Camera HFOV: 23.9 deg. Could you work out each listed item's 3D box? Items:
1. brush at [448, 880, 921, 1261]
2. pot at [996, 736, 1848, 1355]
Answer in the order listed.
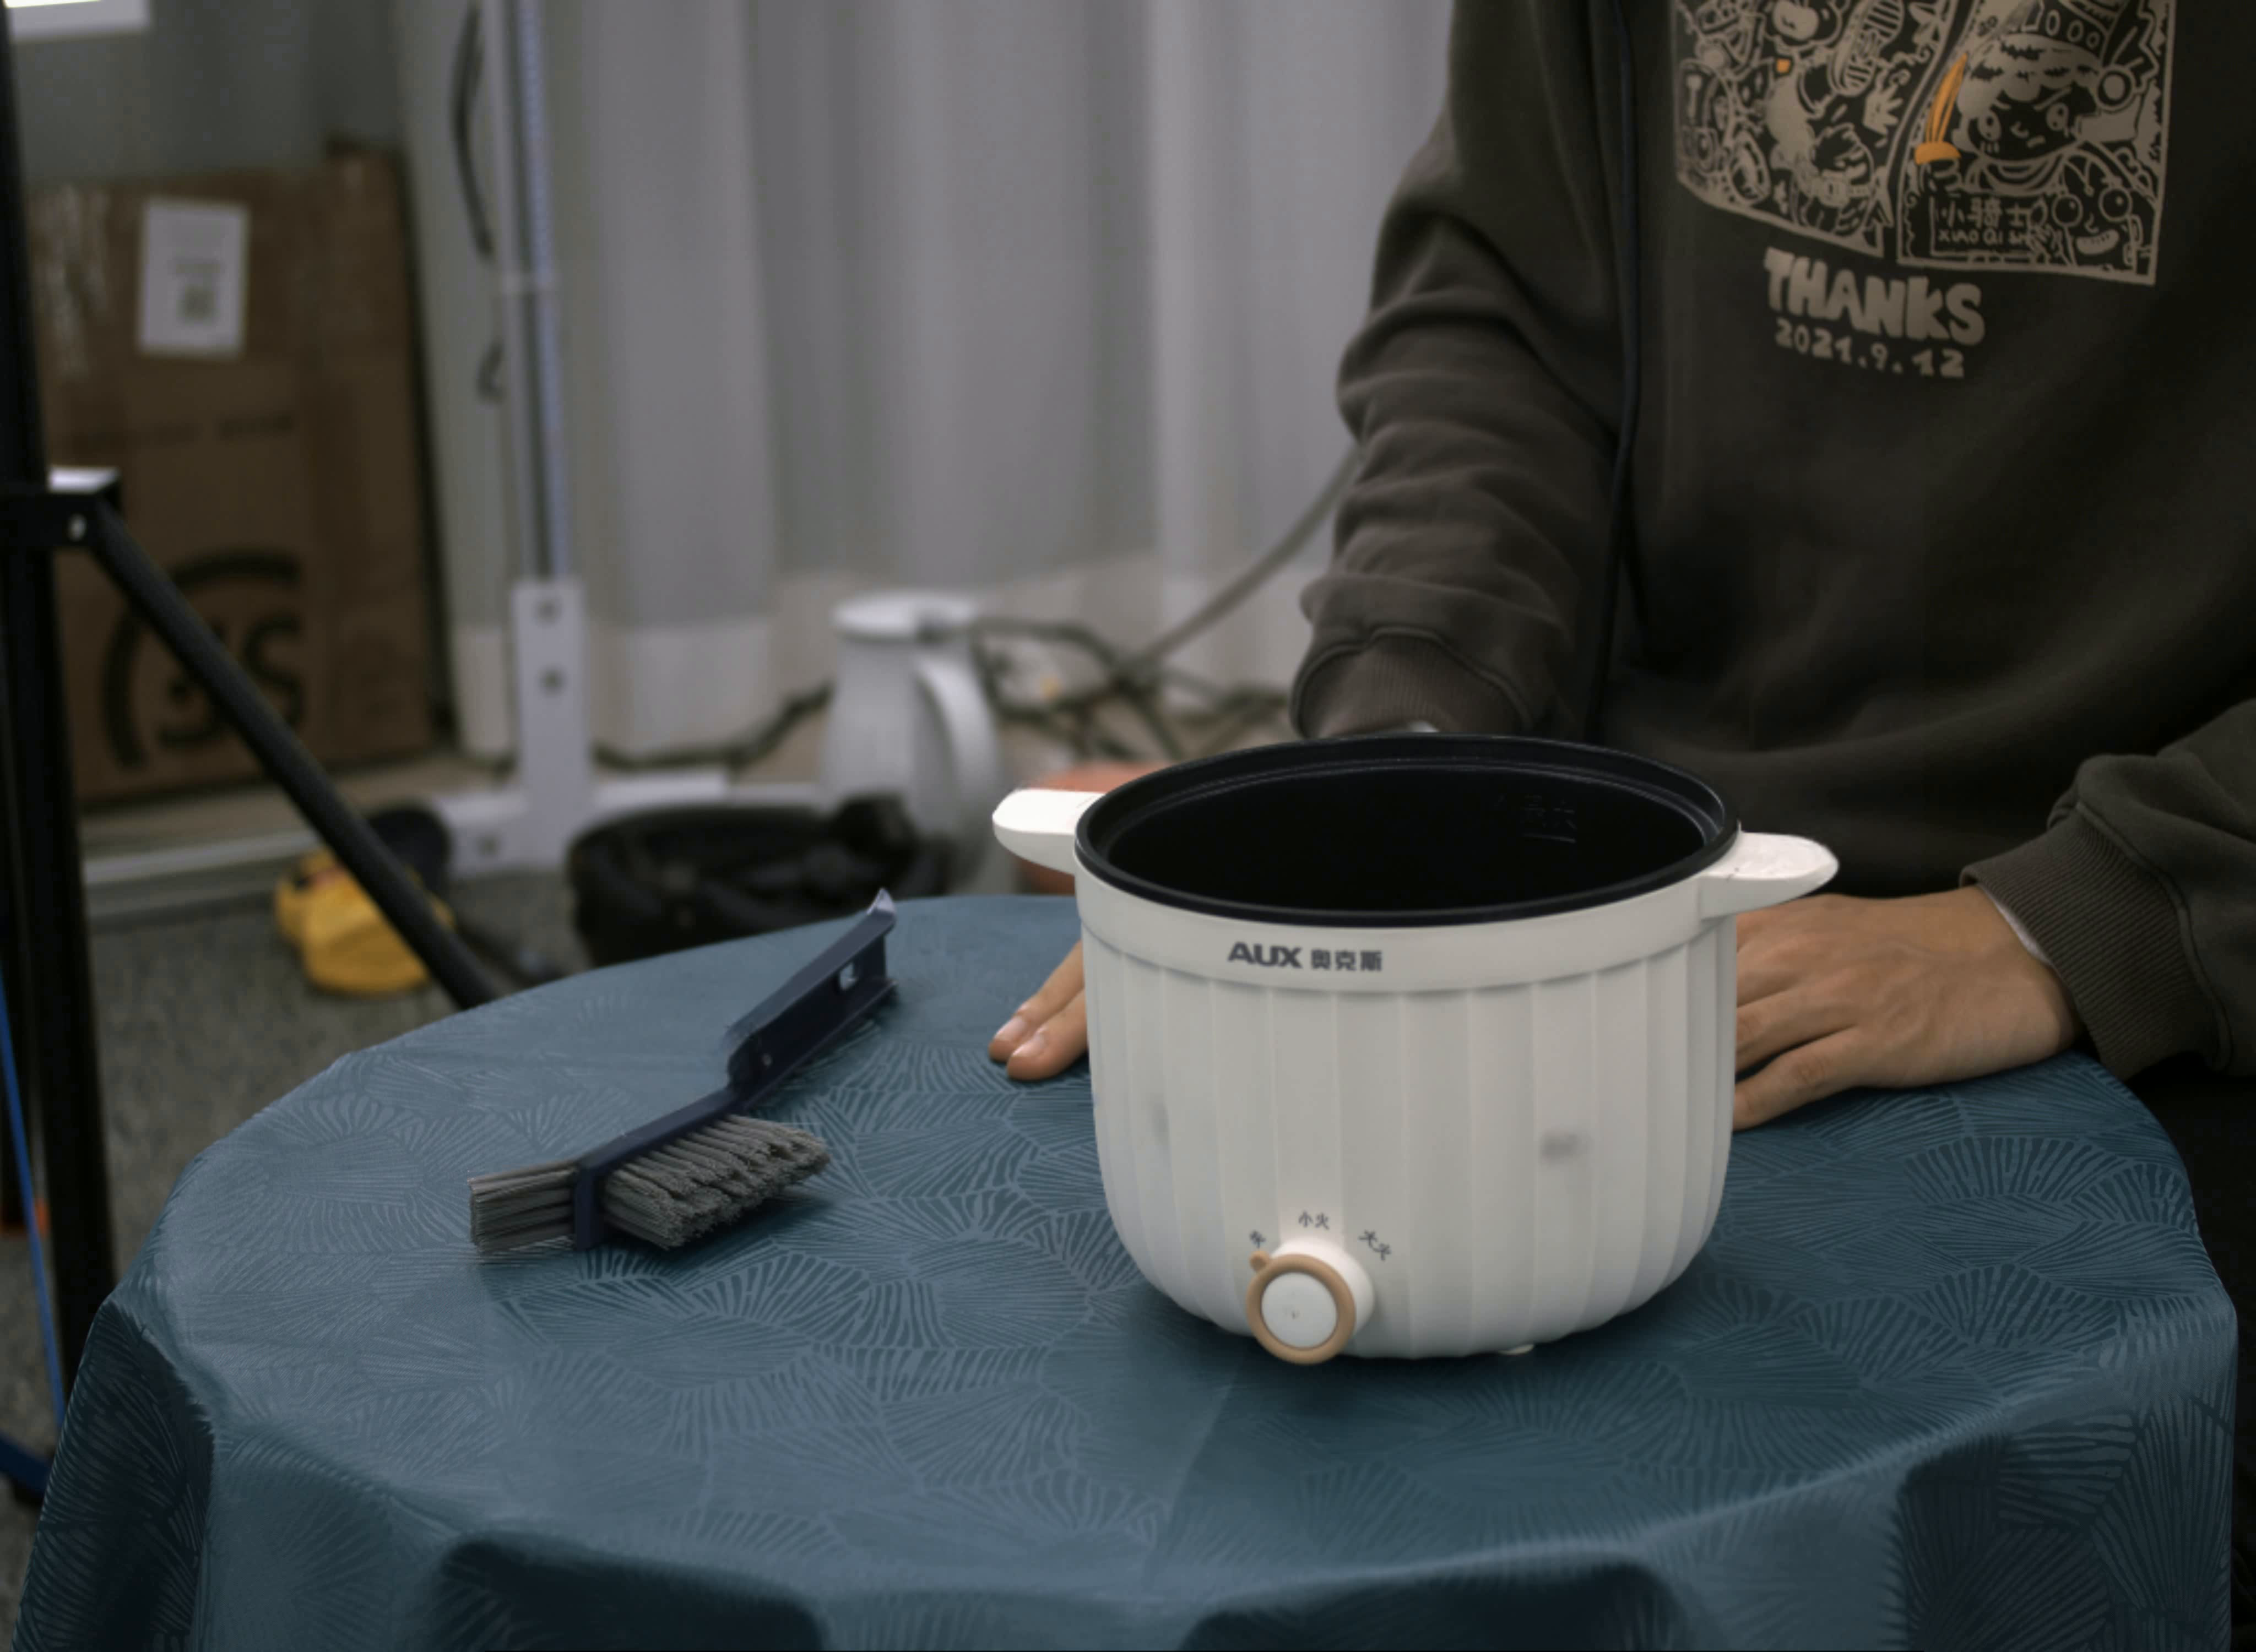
[{"bbox_3d":[-0.127,0.074,1.649,0.096,0.033,0.272,0,17,11],"label":"brush"},{"bbox_3d":[0.078,0.063,1.453,0.243,0.143,0.188,2,12,21],"label":"pot"}]
